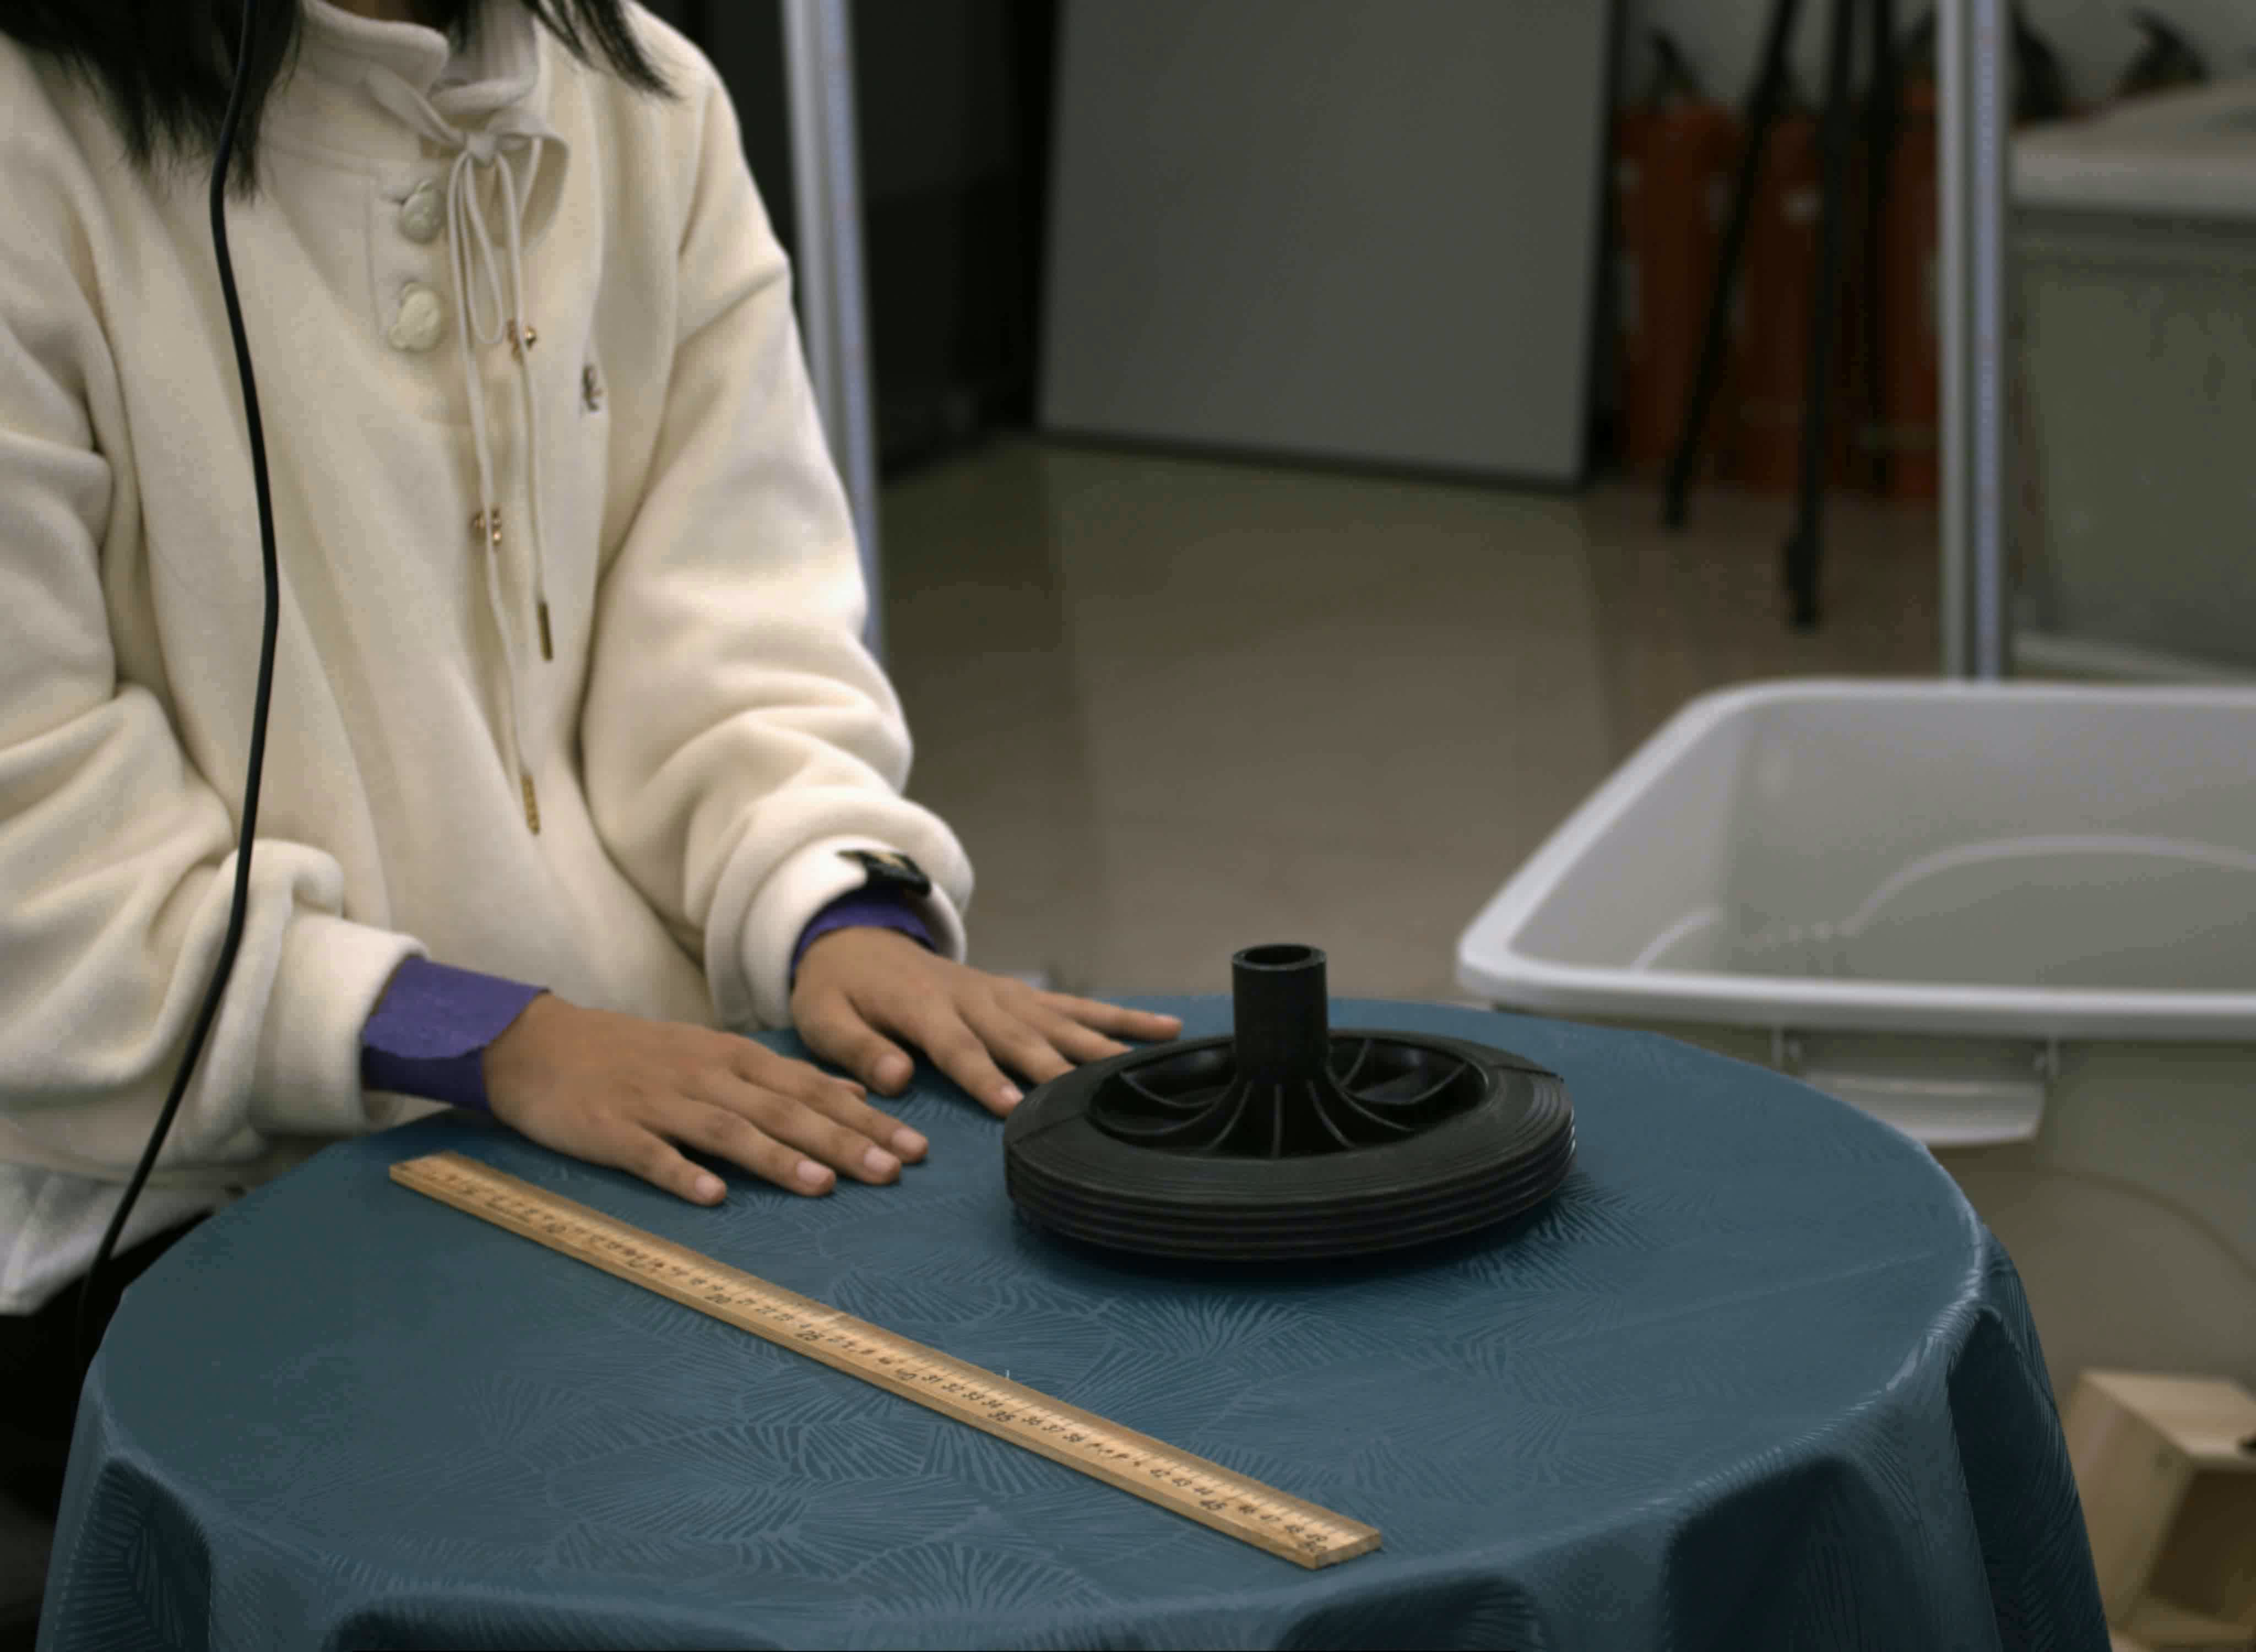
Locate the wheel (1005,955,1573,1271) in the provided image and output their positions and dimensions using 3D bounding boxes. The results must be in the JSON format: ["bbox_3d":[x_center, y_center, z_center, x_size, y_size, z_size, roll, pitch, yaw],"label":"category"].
[{"bbox_3d":[0.051,0.084,1.745,0.187,0.080,0.187,2,15,25],"label":"wheel"}]

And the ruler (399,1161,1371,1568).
[{"bbox_3d":[-0.091,0.157,1.644,0.026,0.006,0.506,-15,17,-34],"label":"ruler"}]
